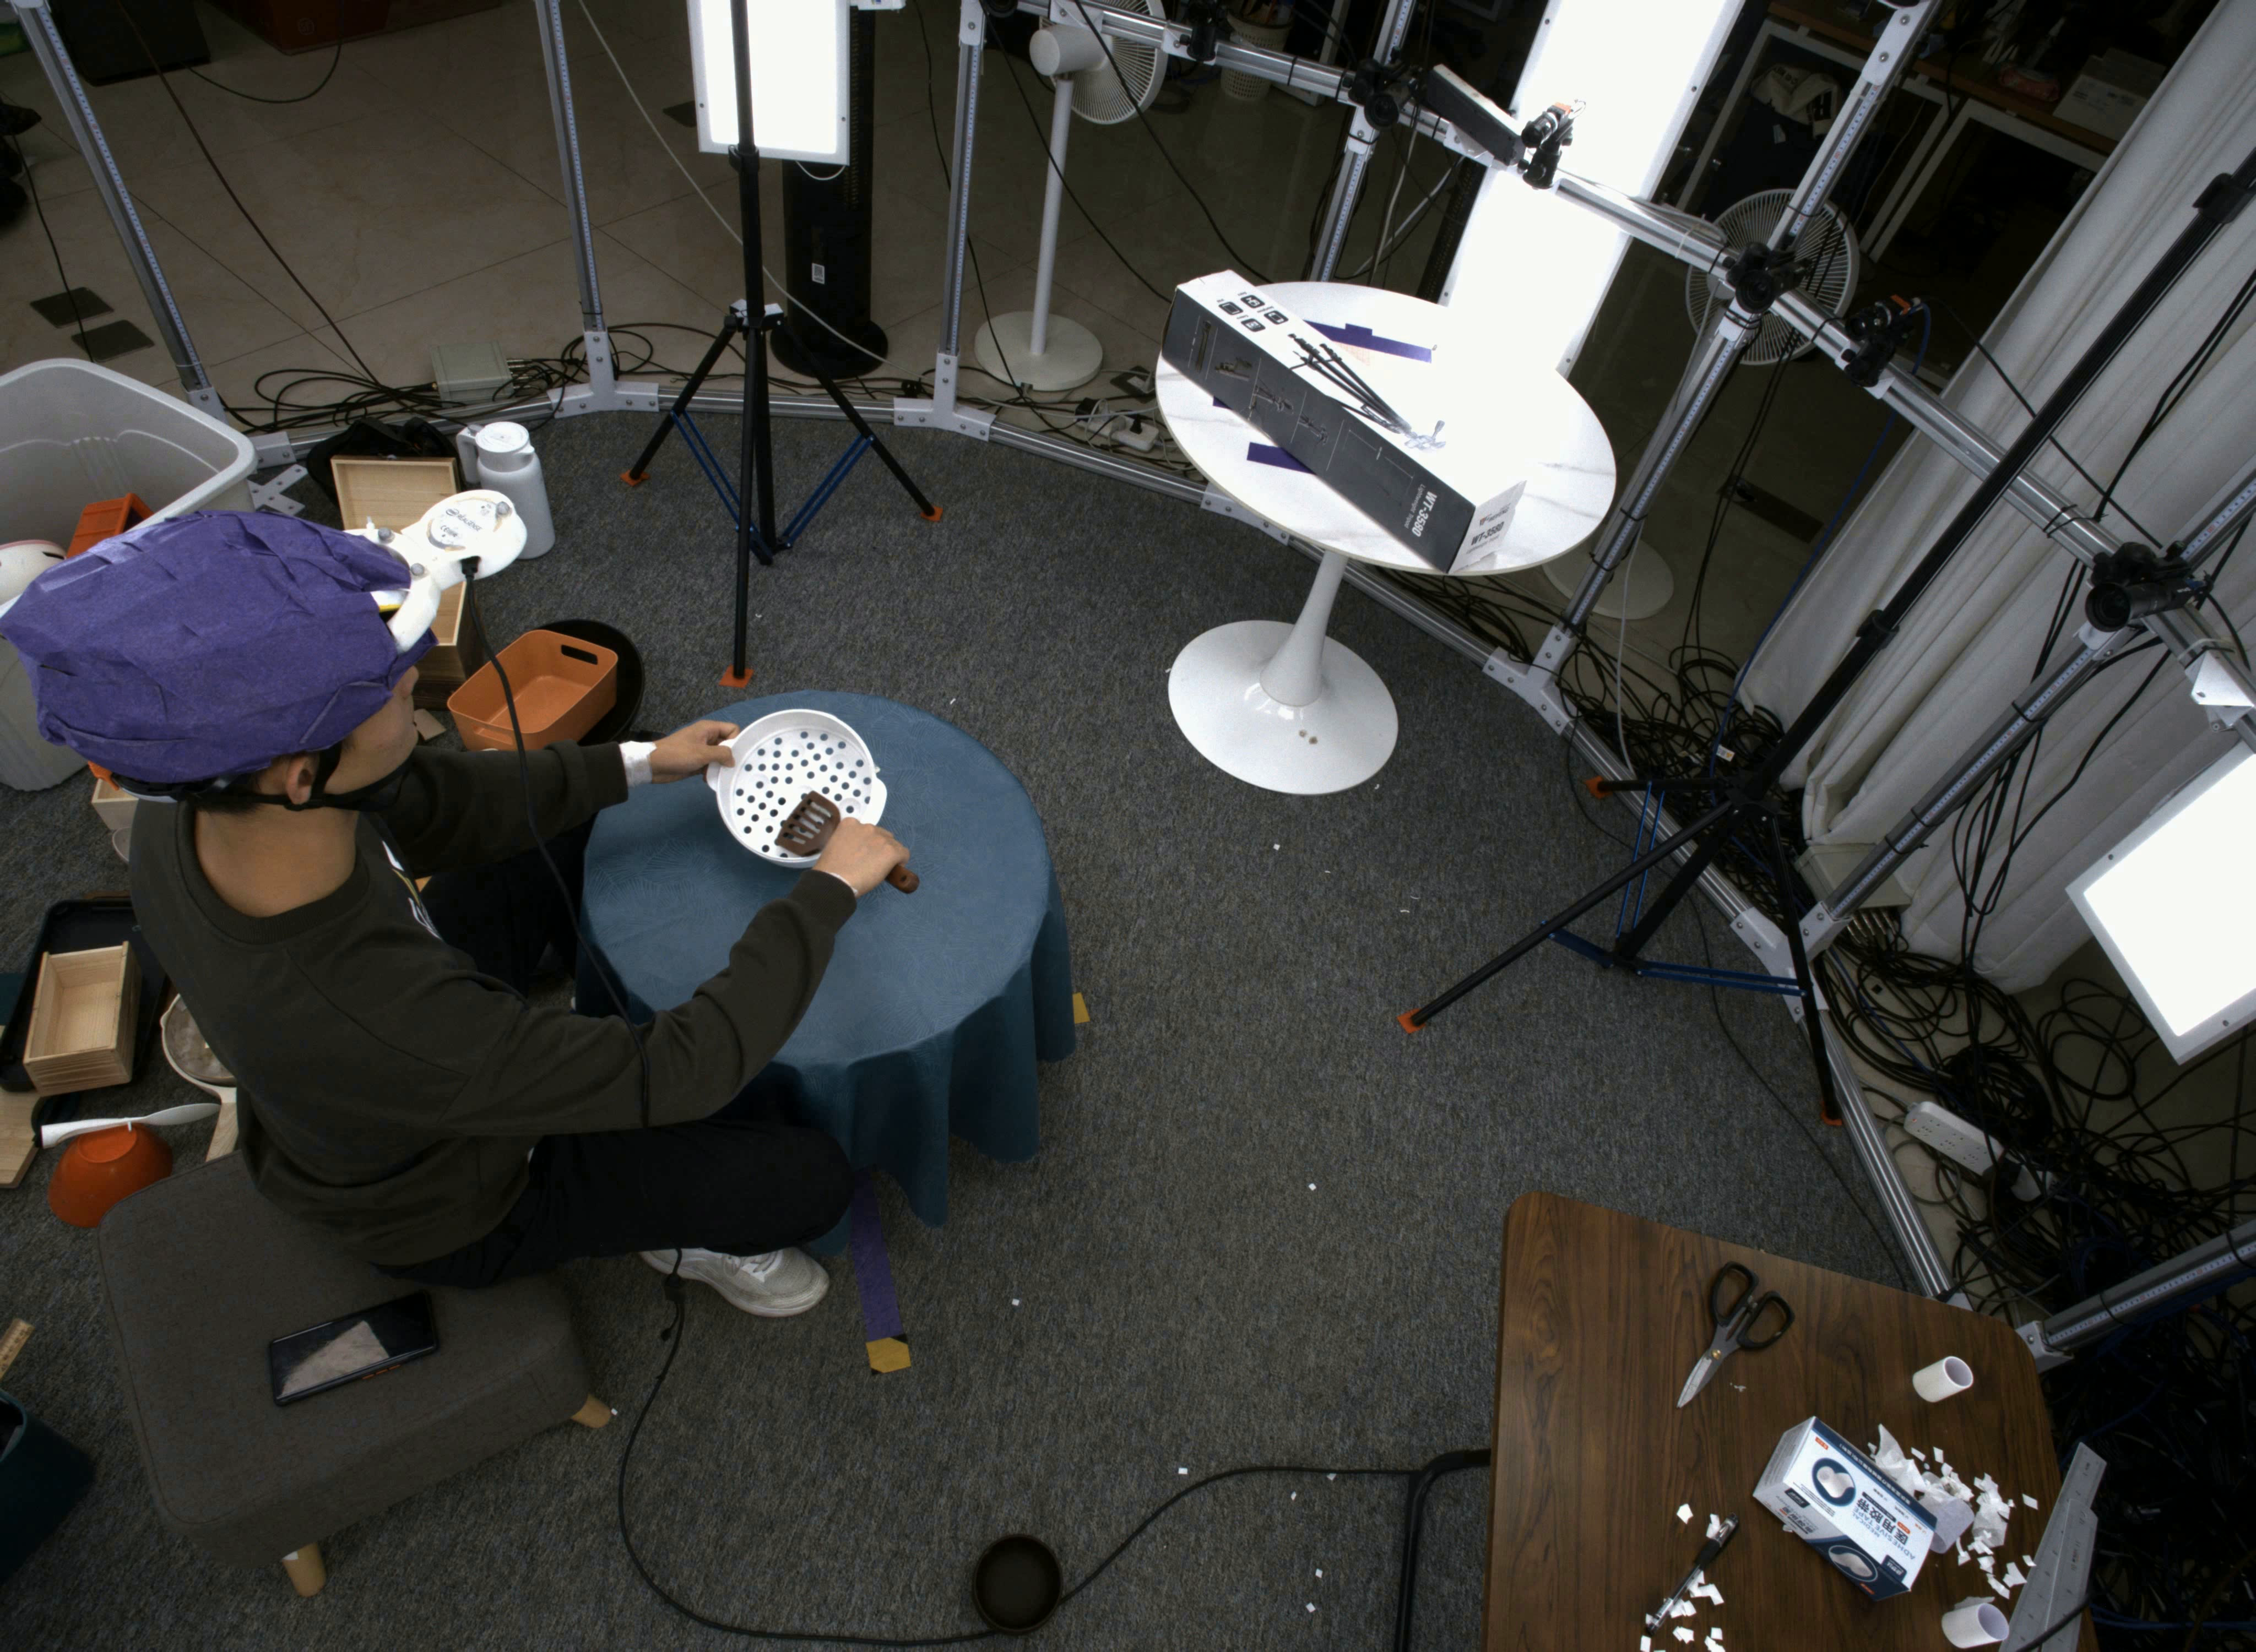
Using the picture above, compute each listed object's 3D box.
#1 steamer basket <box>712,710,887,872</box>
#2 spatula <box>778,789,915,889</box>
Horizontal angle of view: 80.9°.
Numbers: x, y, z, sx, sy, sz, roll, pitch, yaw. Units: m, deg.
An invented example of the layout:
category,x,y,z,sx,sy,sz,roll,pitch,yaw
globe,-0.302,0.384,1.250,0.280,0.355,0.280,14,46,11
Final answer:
category,x,y,z,sx,sy,sz,roll,pitch,yaw
steamer basket,-0.418,-0.044,1.674,0.227,0.070,0.202,14,76,3
spatula,-0.330,0.021,1.534,0.024,0.372,0.086,40,78,-32
